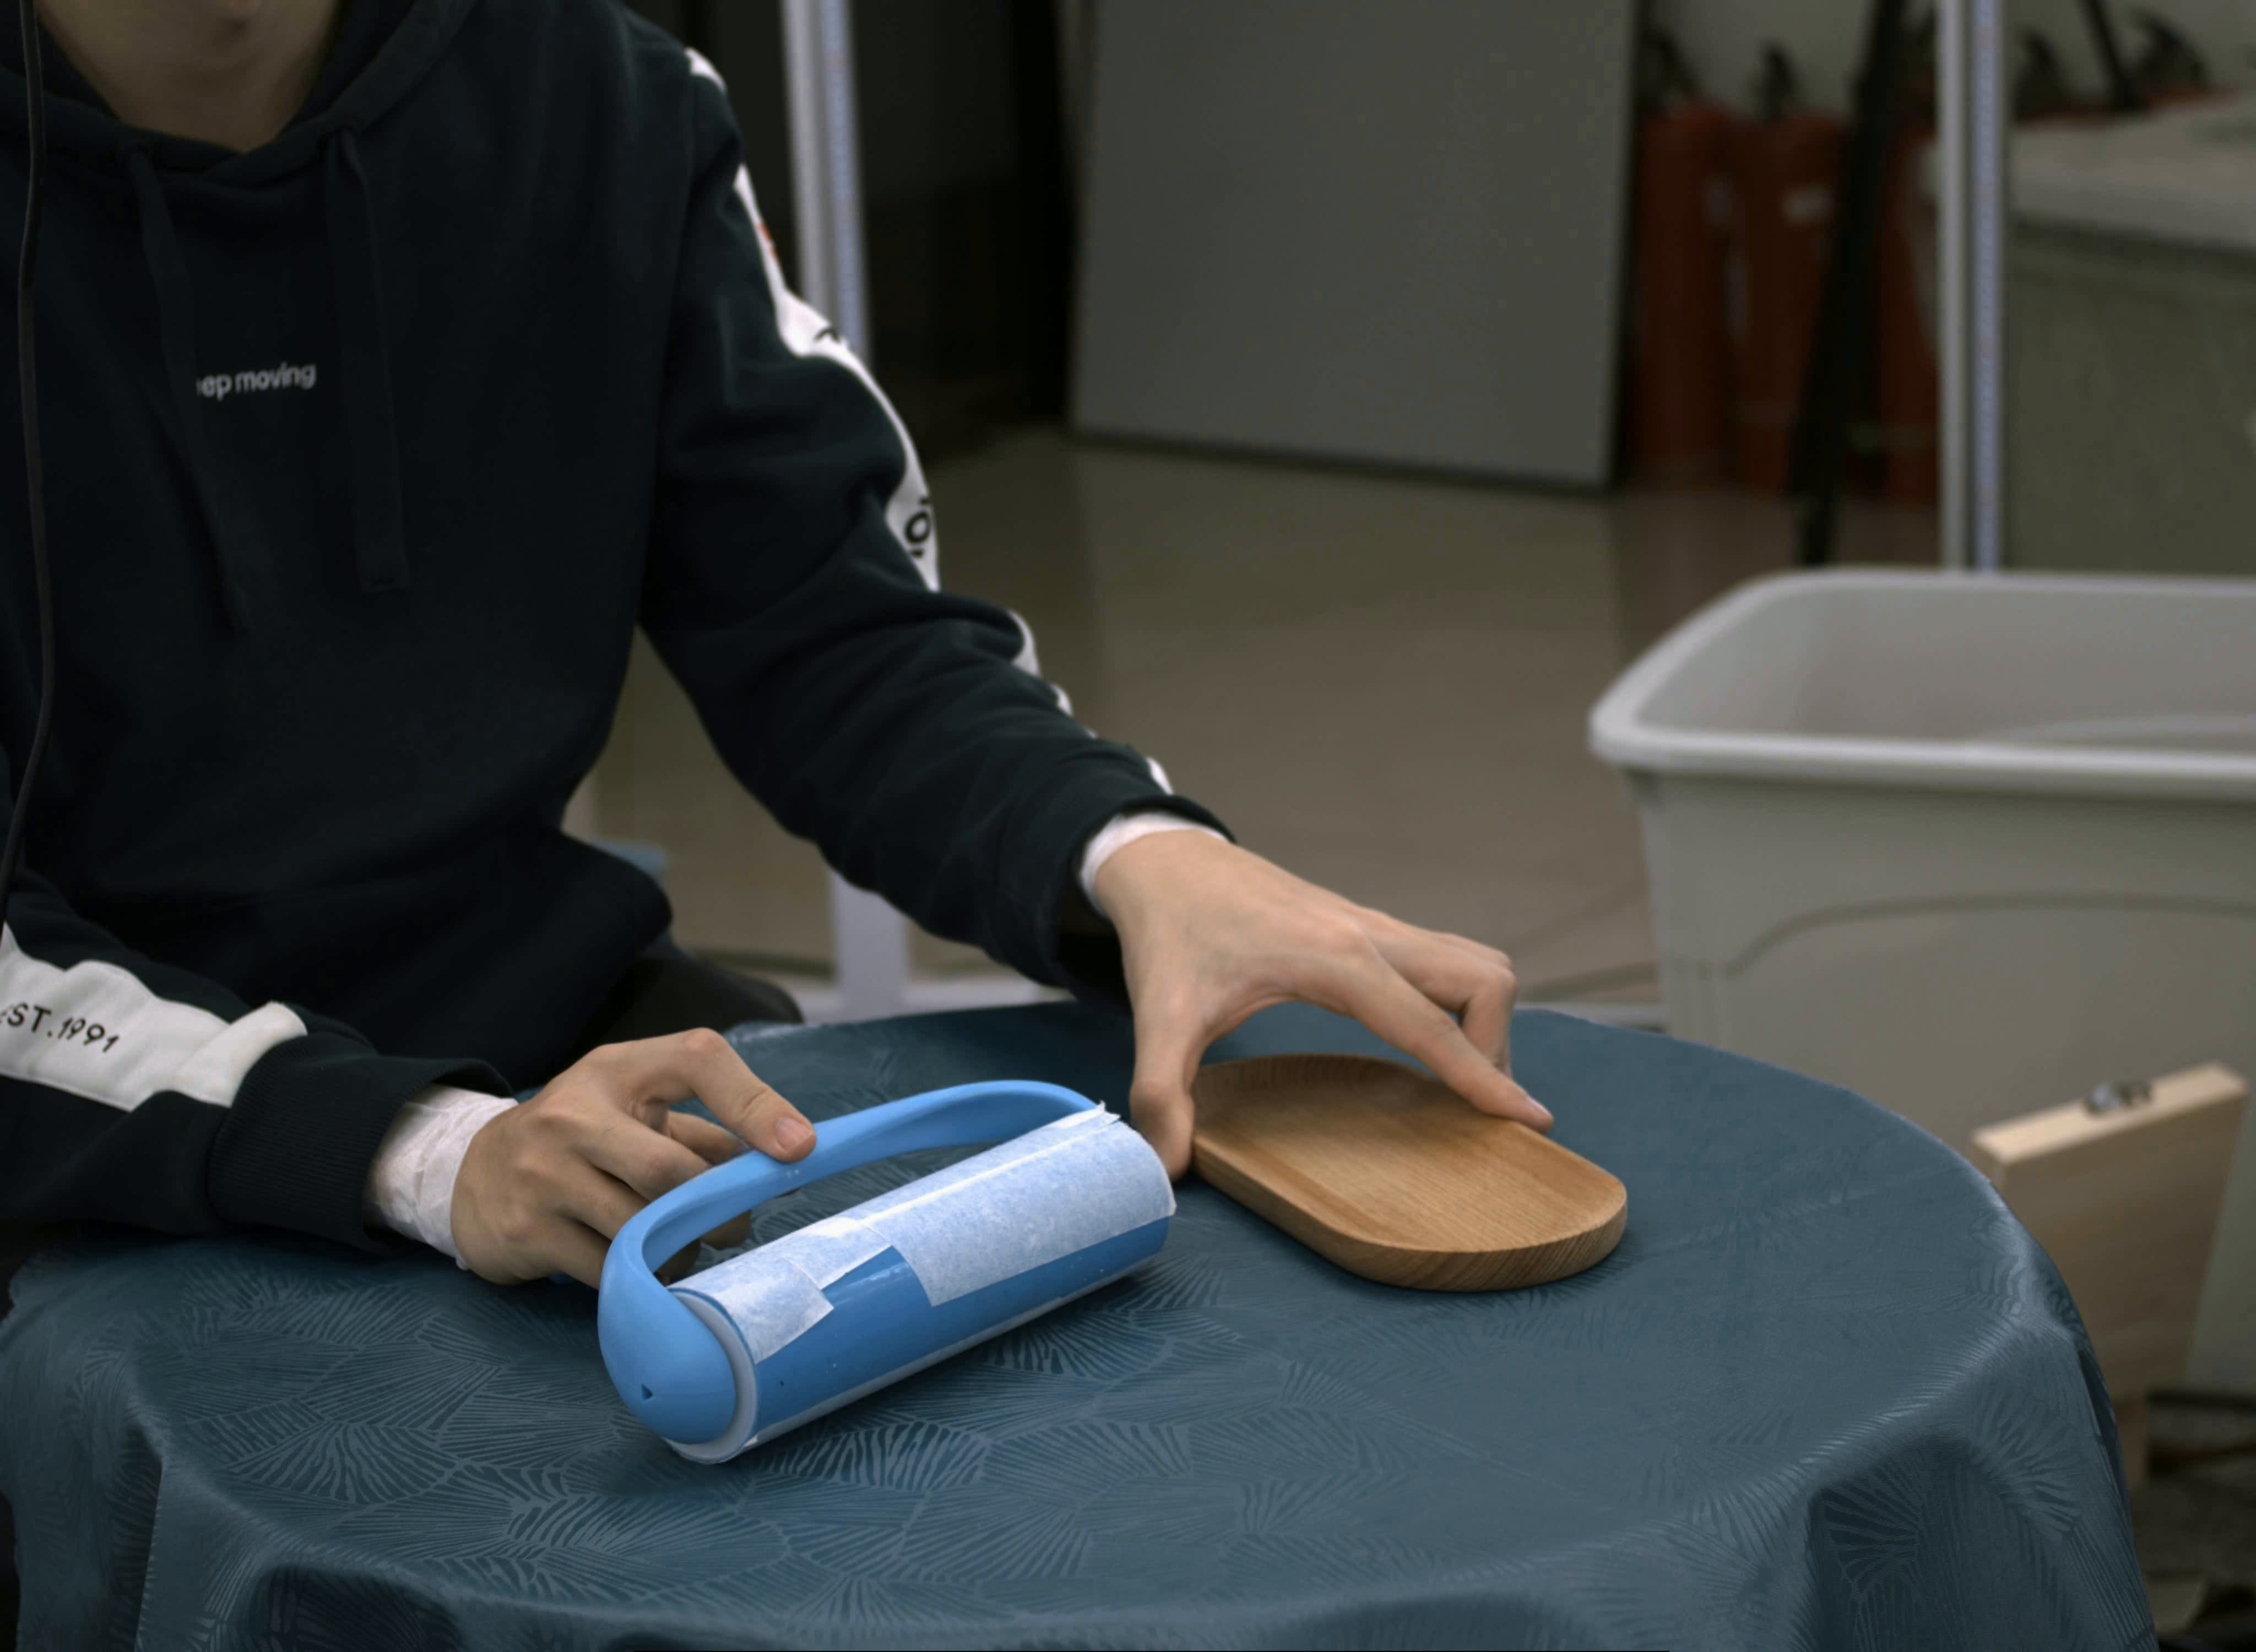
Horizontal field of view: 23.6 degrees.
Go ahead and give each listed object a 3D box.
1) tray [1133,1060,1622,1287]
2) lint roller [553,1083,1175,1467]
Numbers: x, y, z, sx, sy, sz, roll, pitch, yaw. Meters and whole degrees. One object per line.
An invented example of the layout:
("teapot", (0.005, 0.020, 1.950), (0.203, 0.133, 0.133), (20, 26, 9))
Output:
("tray", (0.079, 0.111, 1.755), (0.099, 0.020, 0.233), (-8, 13, -23))
("lint roller", (-0.111, 0.129, 1.653), (0.181, 0.068, 0.225), (7, 19, 36))
